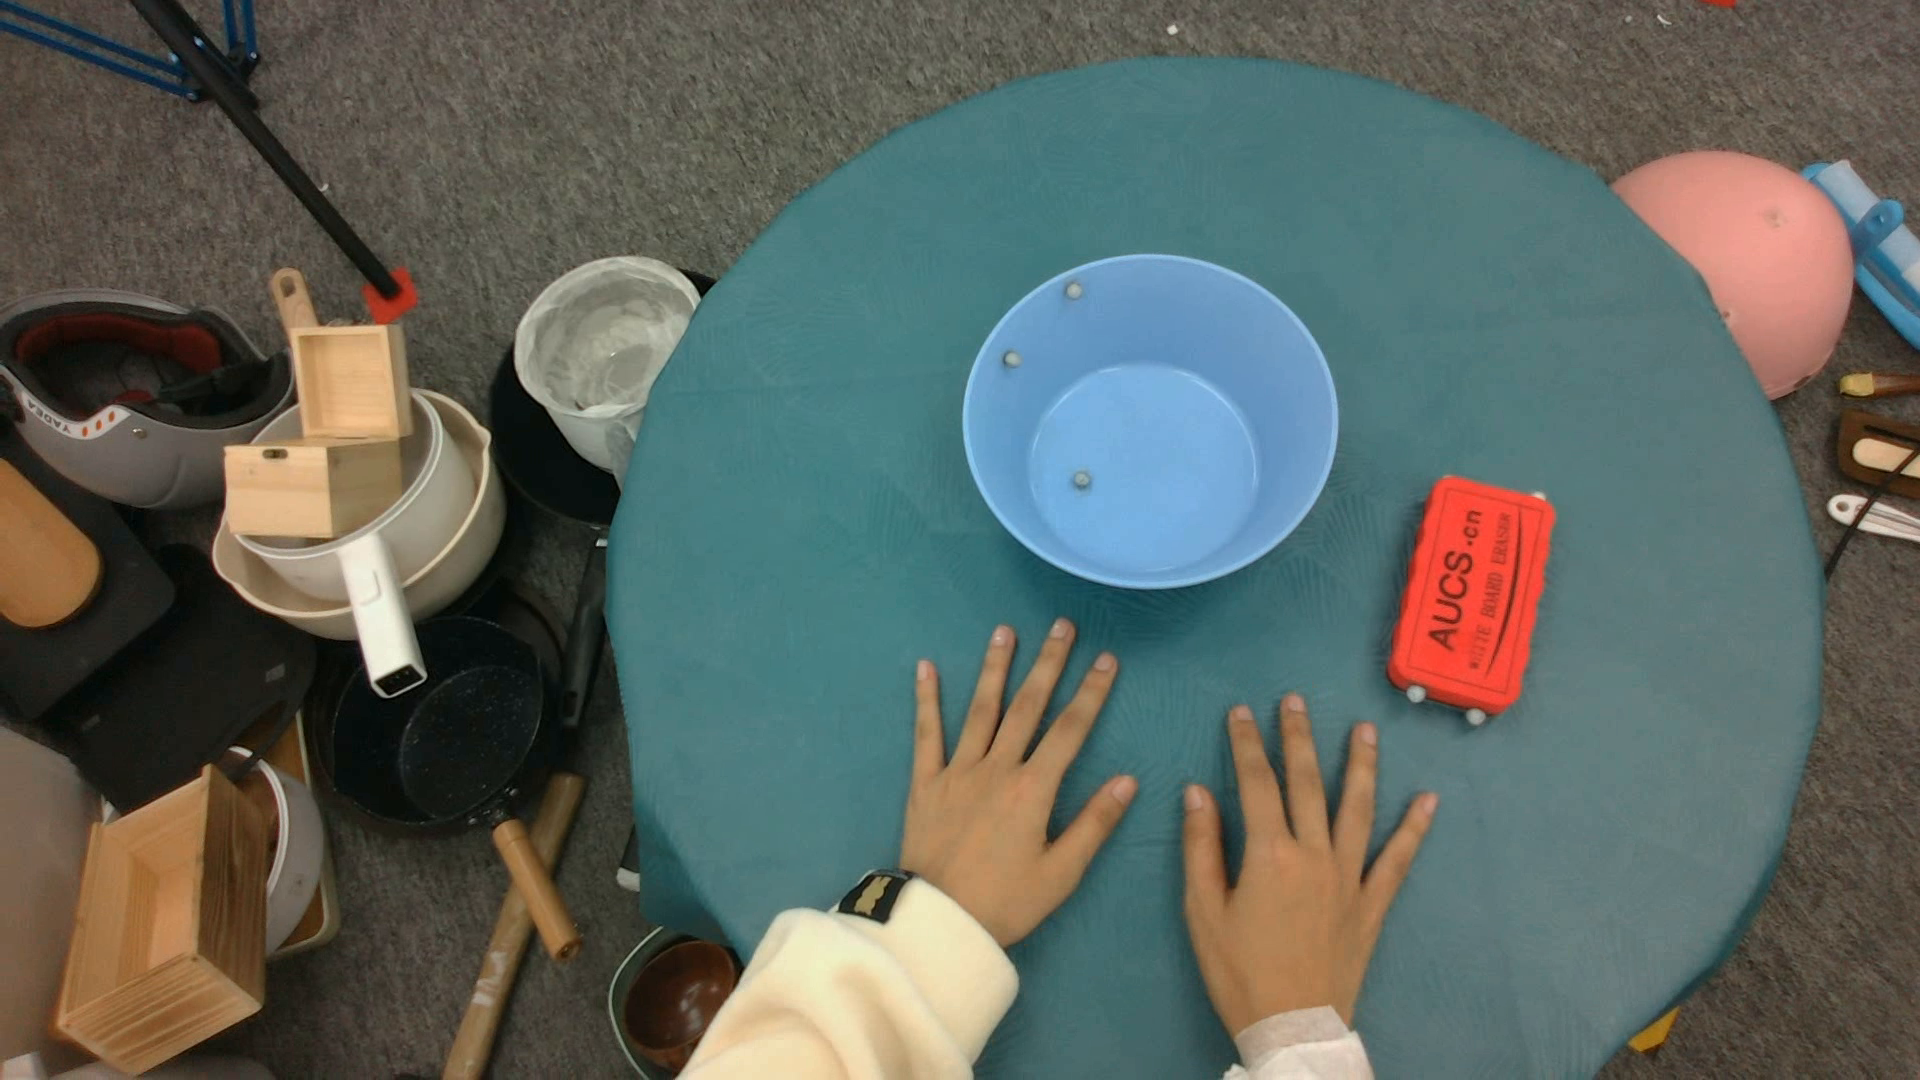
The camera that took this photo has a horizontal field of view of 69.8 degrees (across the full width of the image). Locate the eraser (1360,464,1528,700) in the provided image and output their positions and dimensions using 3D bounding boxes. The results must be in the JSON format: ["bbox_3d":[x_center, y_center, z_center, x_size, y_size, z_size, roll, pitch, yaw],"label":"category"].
[{"bbox_3d":[0.233,0.019,0.664,0.059,0.023,0.108,17,70,8],"label":"eraser"}]

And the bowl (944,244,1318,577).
[{"bbox_3d":[0.082,-0.054,0.677,0.176,0.070,0.176,-1,68,3],"label":"bowl"}]
